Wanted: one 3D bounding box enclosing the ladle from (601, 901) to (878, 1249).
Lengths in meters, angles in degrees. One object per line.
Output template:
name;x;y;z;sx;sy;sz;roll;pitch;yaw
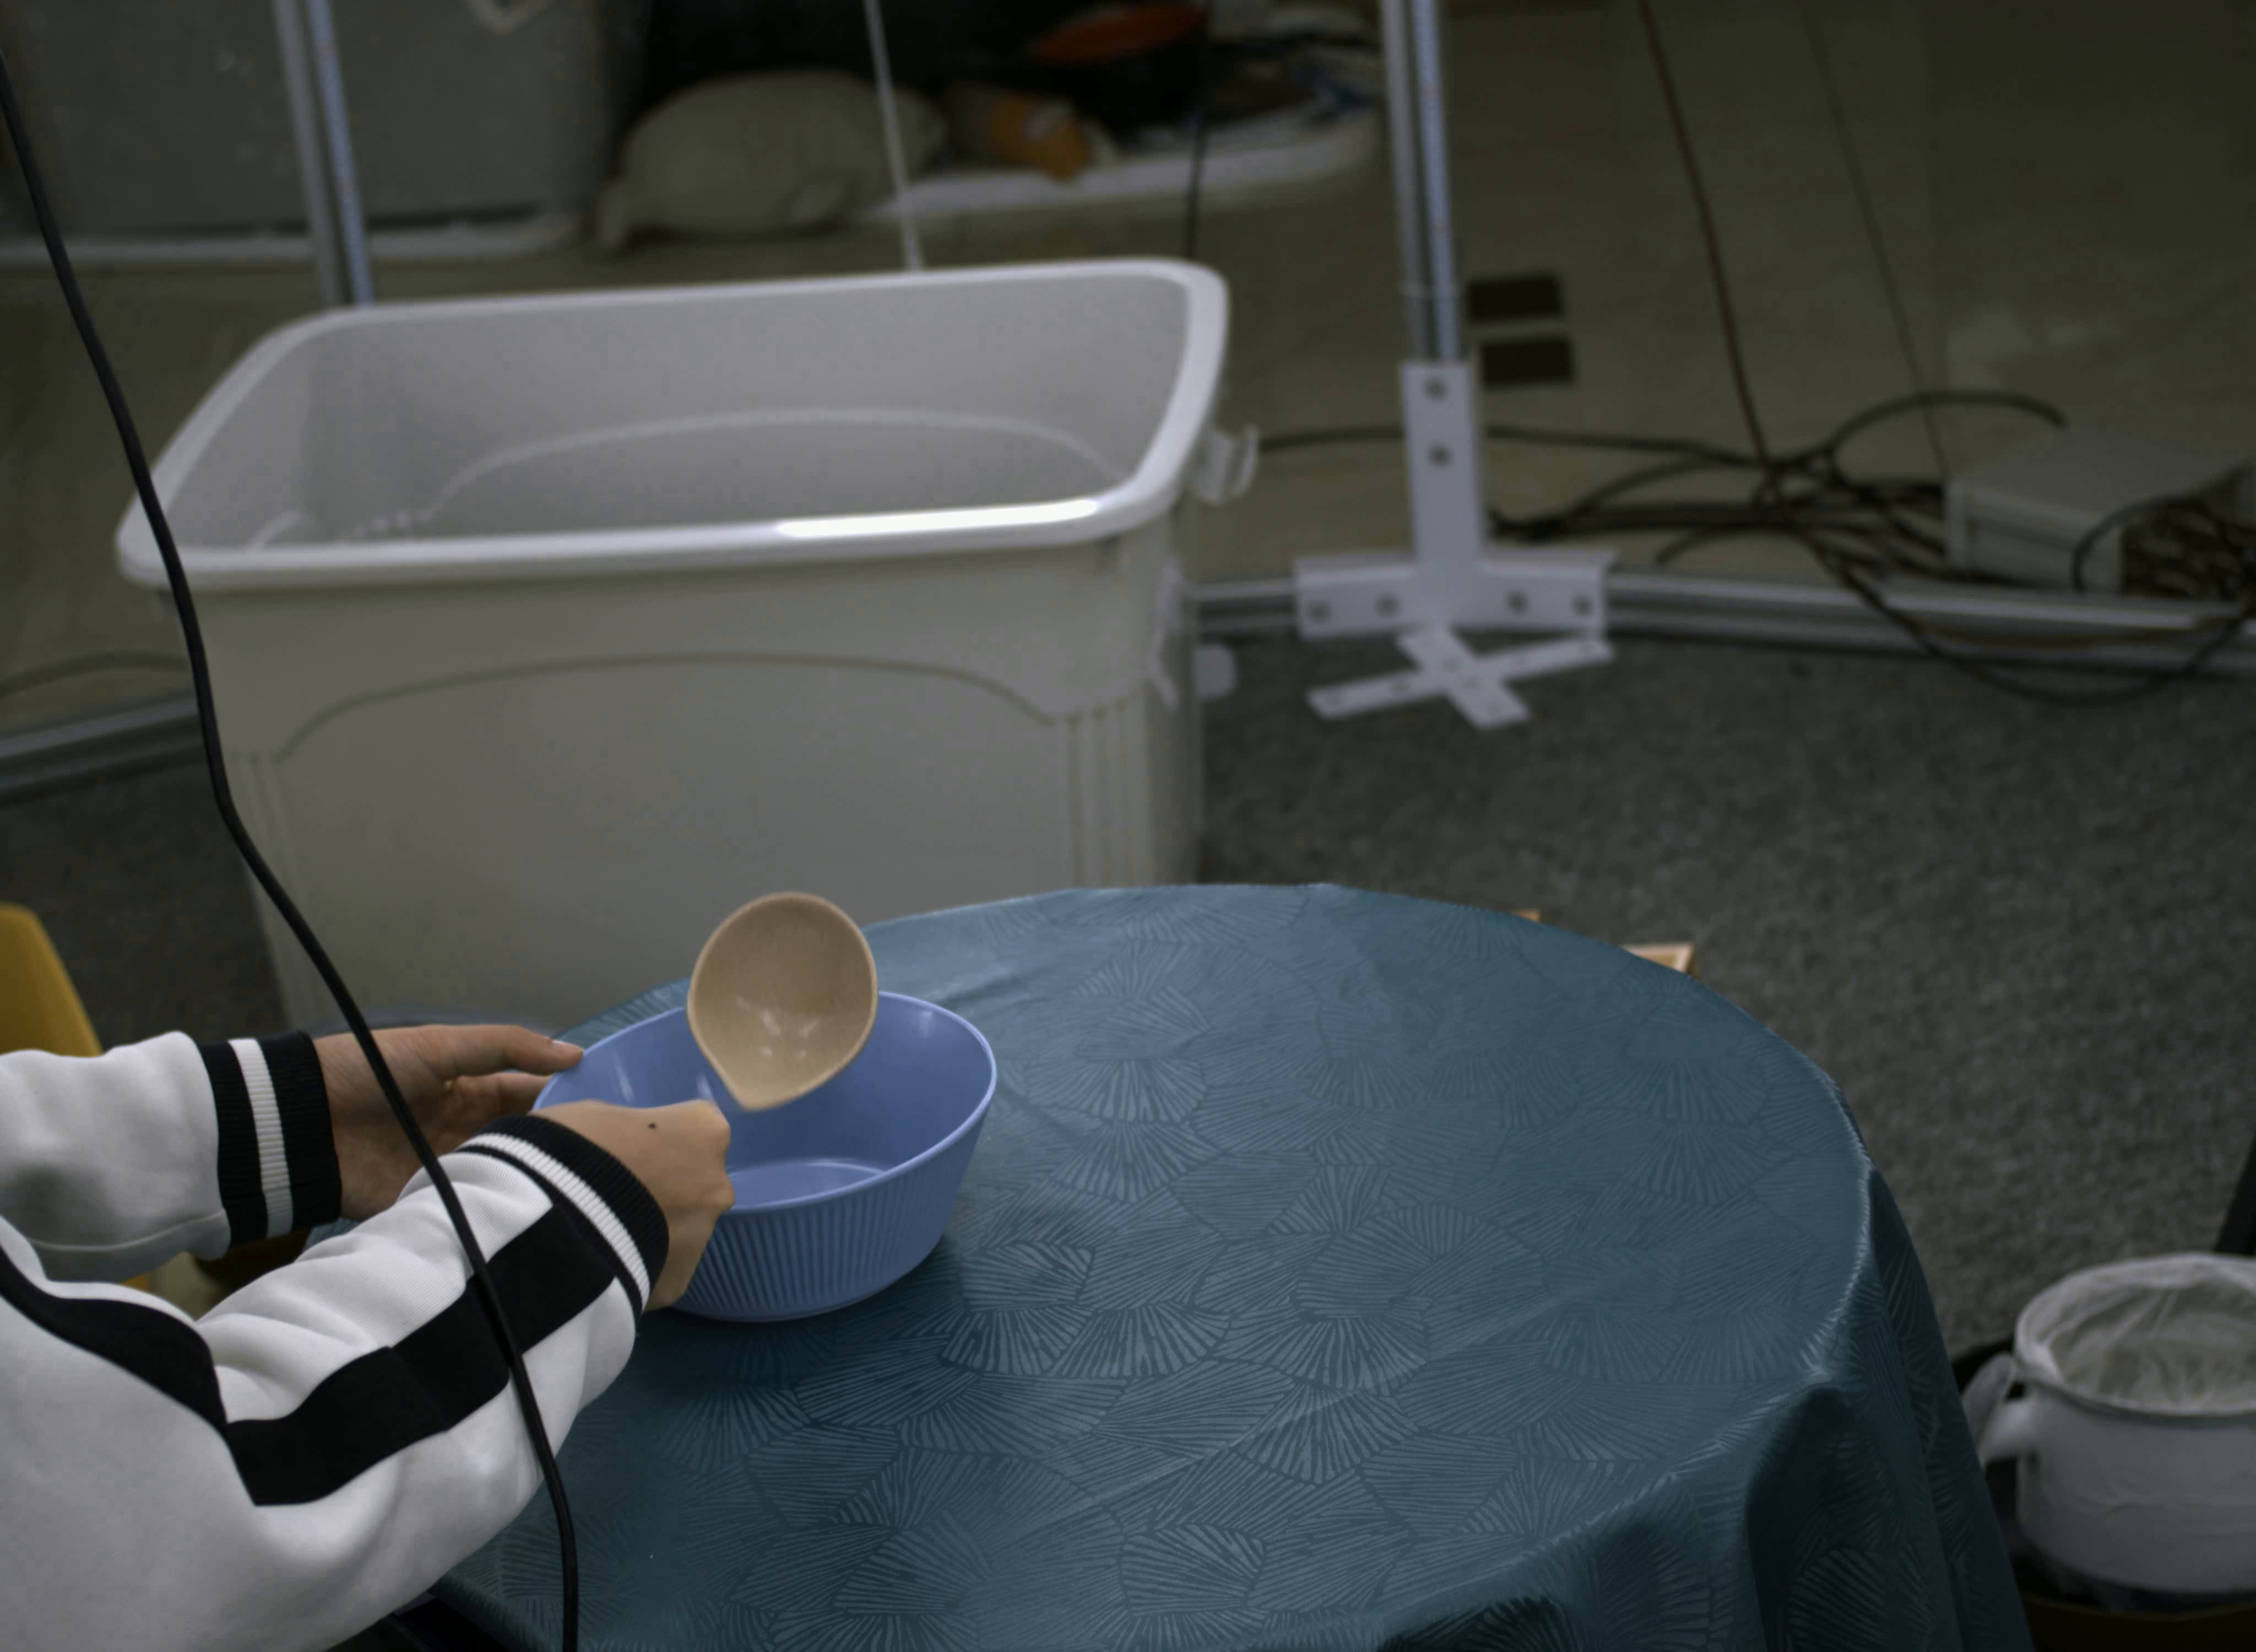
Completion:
ladle;-0.147;0.083;2.010;0.072;0.073;0.252;2;11;11

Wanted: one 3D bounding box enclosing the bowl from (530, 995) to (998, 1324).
bowl;-0.132;0.130;2.117;0.176;0.071;0.173;-6;24;3
